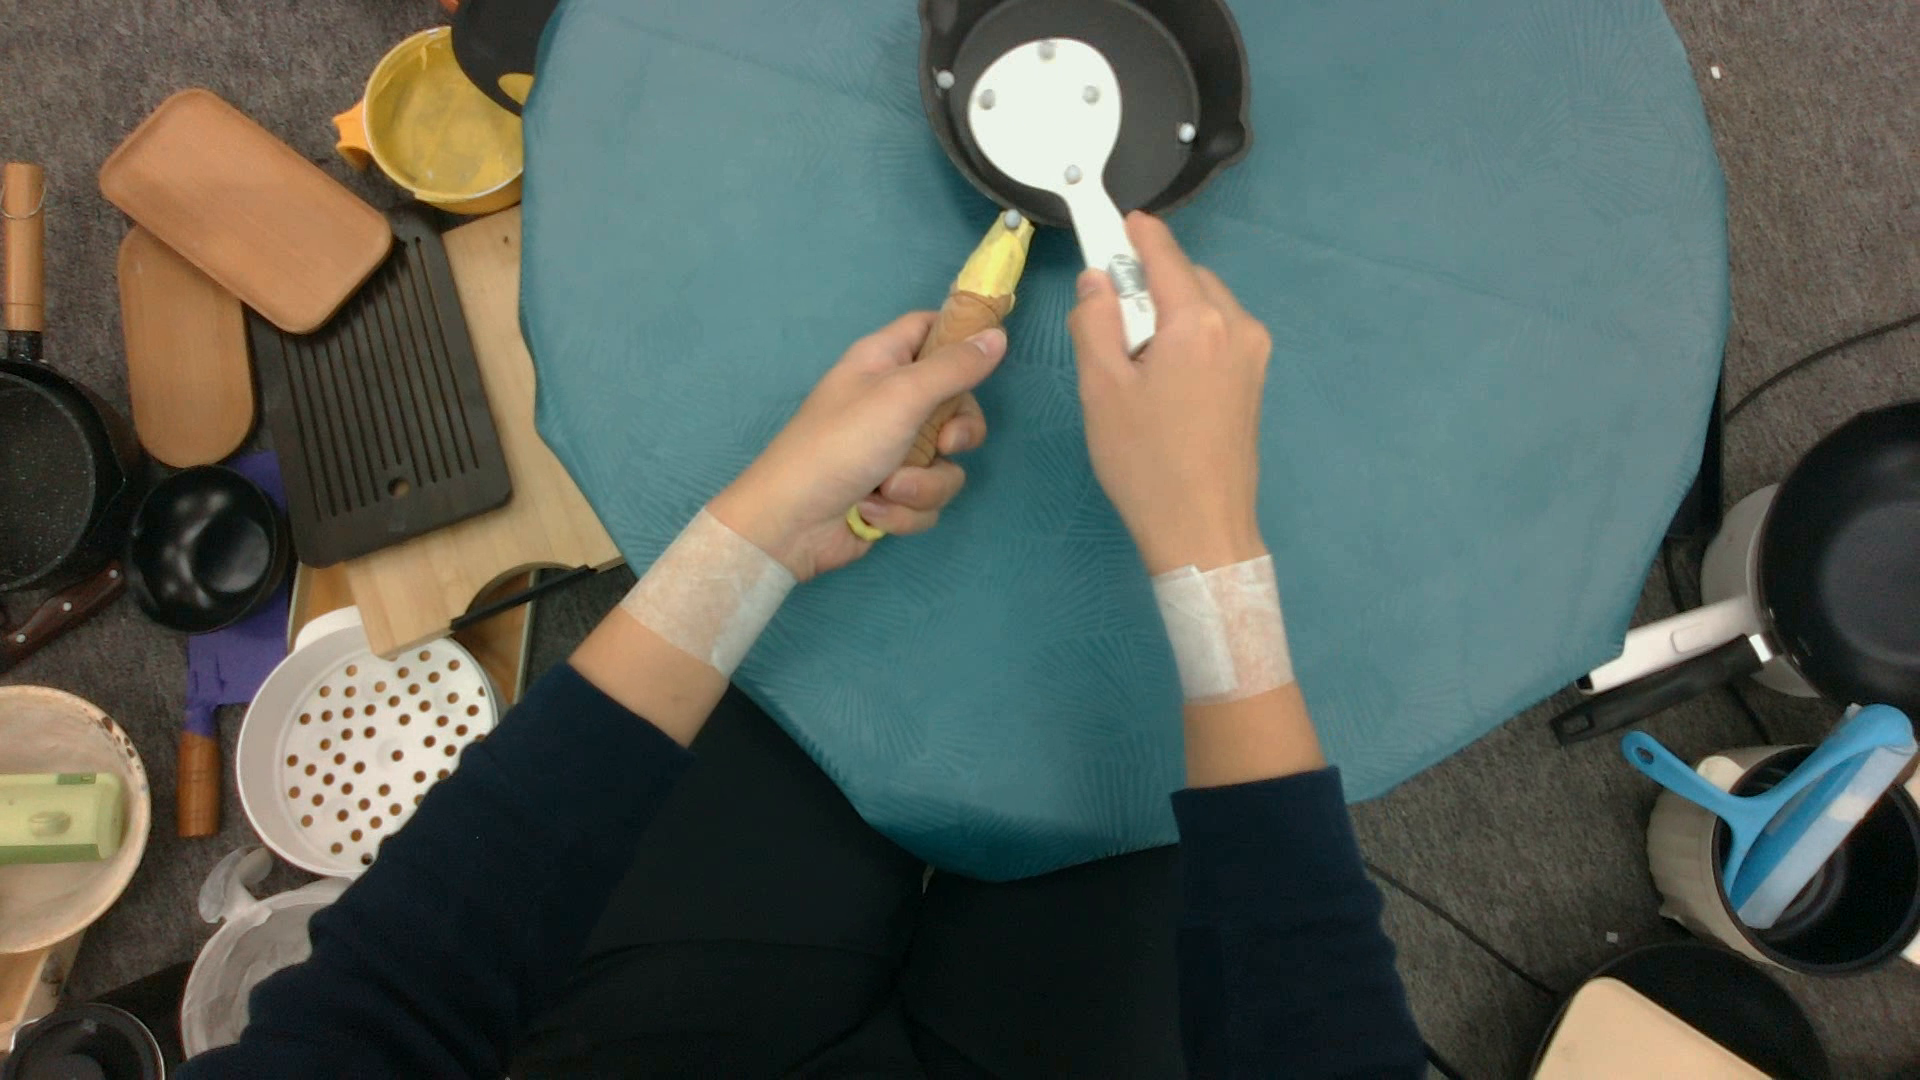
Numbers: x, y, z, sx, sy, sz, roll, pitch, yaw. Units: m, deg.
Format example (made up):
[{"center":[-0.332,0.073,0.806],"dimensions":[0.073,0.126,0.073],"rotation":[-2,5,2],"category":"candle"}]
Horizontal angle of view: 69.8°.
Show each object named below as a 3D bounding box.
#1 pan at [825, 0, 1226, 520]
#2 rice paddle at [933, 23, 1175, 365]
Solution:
[{"center":[0.012,-0.152,0.633],"dimensions":[0.169,0.049,0.325],"rotation":[26,76,-2],"category":"pan"},{"center":[0.040,-0.165,0.616],"dimensions":[0.069,0.029,0.206],"rotation":[-26,60,6],"category":"rice paddle"}]
